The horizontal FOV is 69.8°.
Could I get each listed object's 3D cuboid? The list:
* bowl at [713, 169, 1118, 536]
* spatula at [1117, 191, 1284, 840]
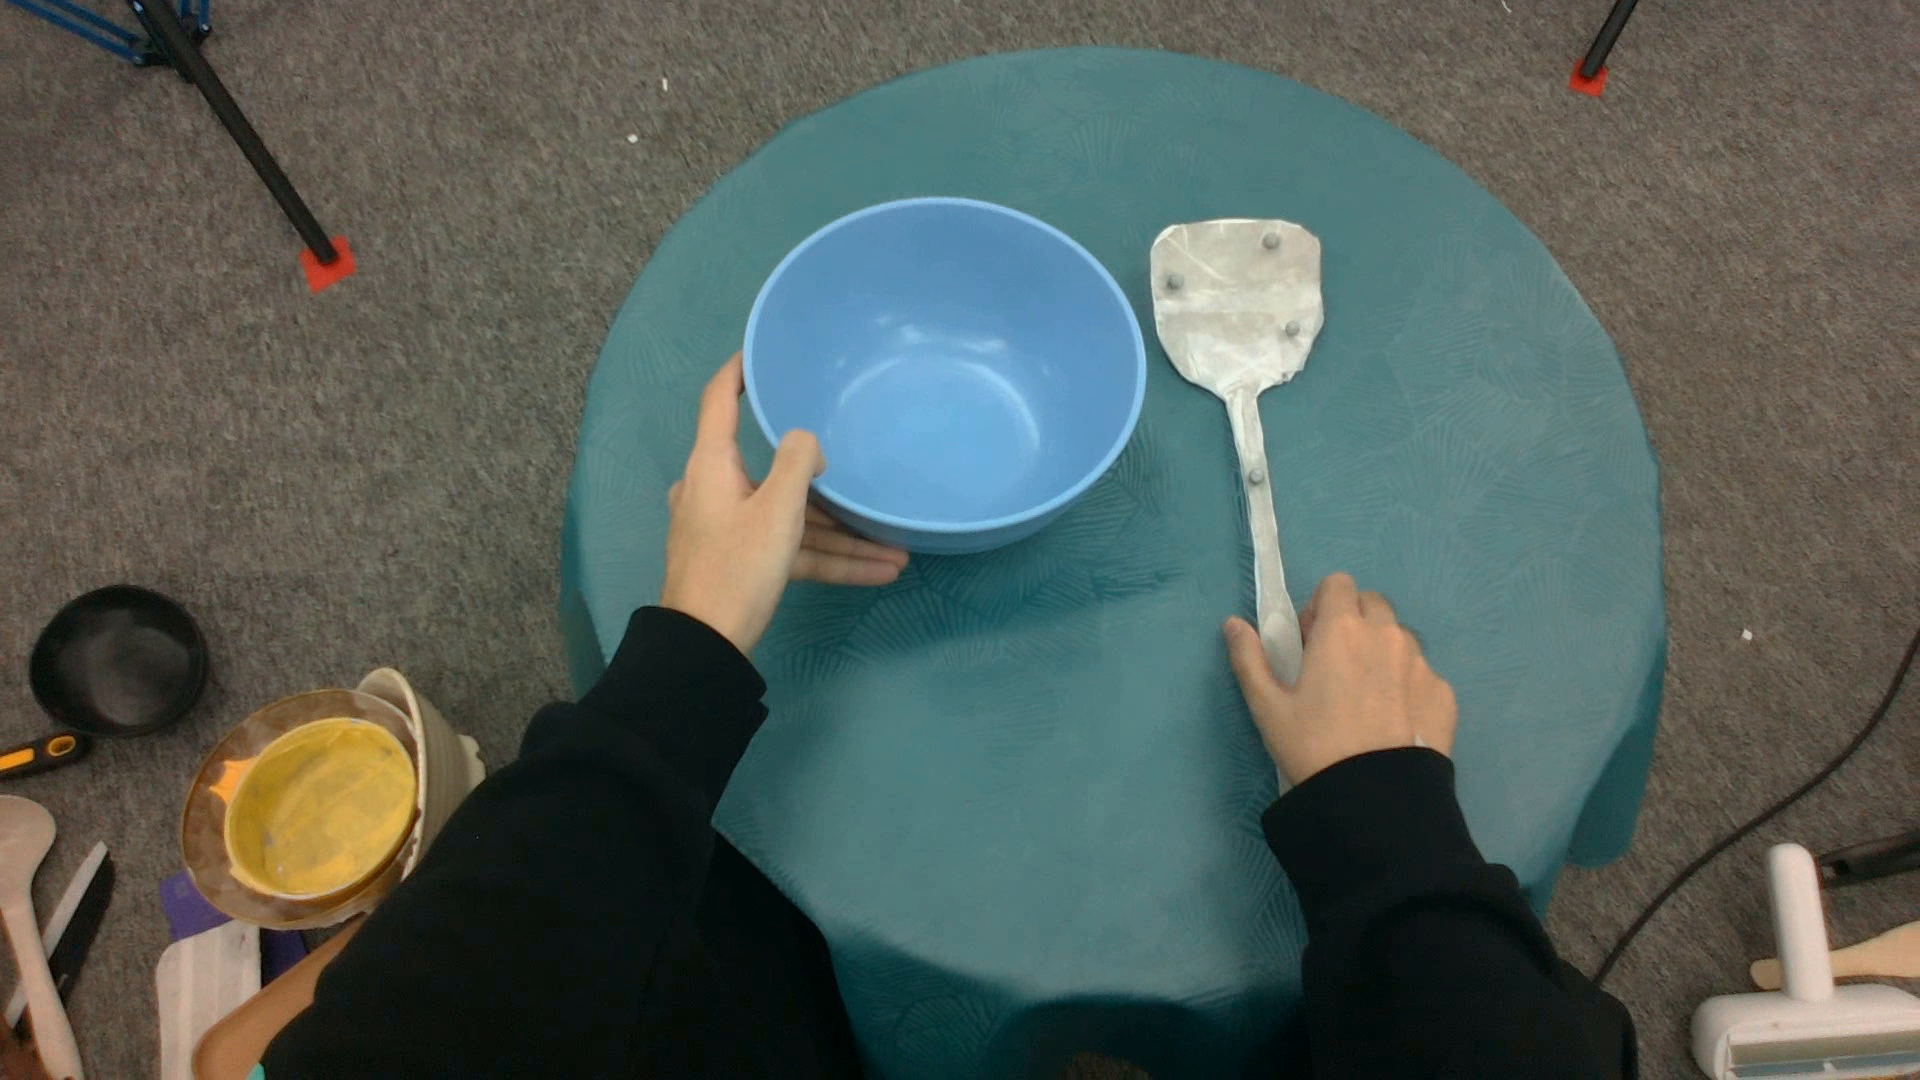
[{"bbox_3d":[-0.024,-0.082,0.706,0.196,0.095,0.197,3,66,-6],"label":"bowl"},{"bbox_3d":[0.140,-0.027,0.733,0.099,0.044,0.366,1,64,-5],"label":"spatula"}]
